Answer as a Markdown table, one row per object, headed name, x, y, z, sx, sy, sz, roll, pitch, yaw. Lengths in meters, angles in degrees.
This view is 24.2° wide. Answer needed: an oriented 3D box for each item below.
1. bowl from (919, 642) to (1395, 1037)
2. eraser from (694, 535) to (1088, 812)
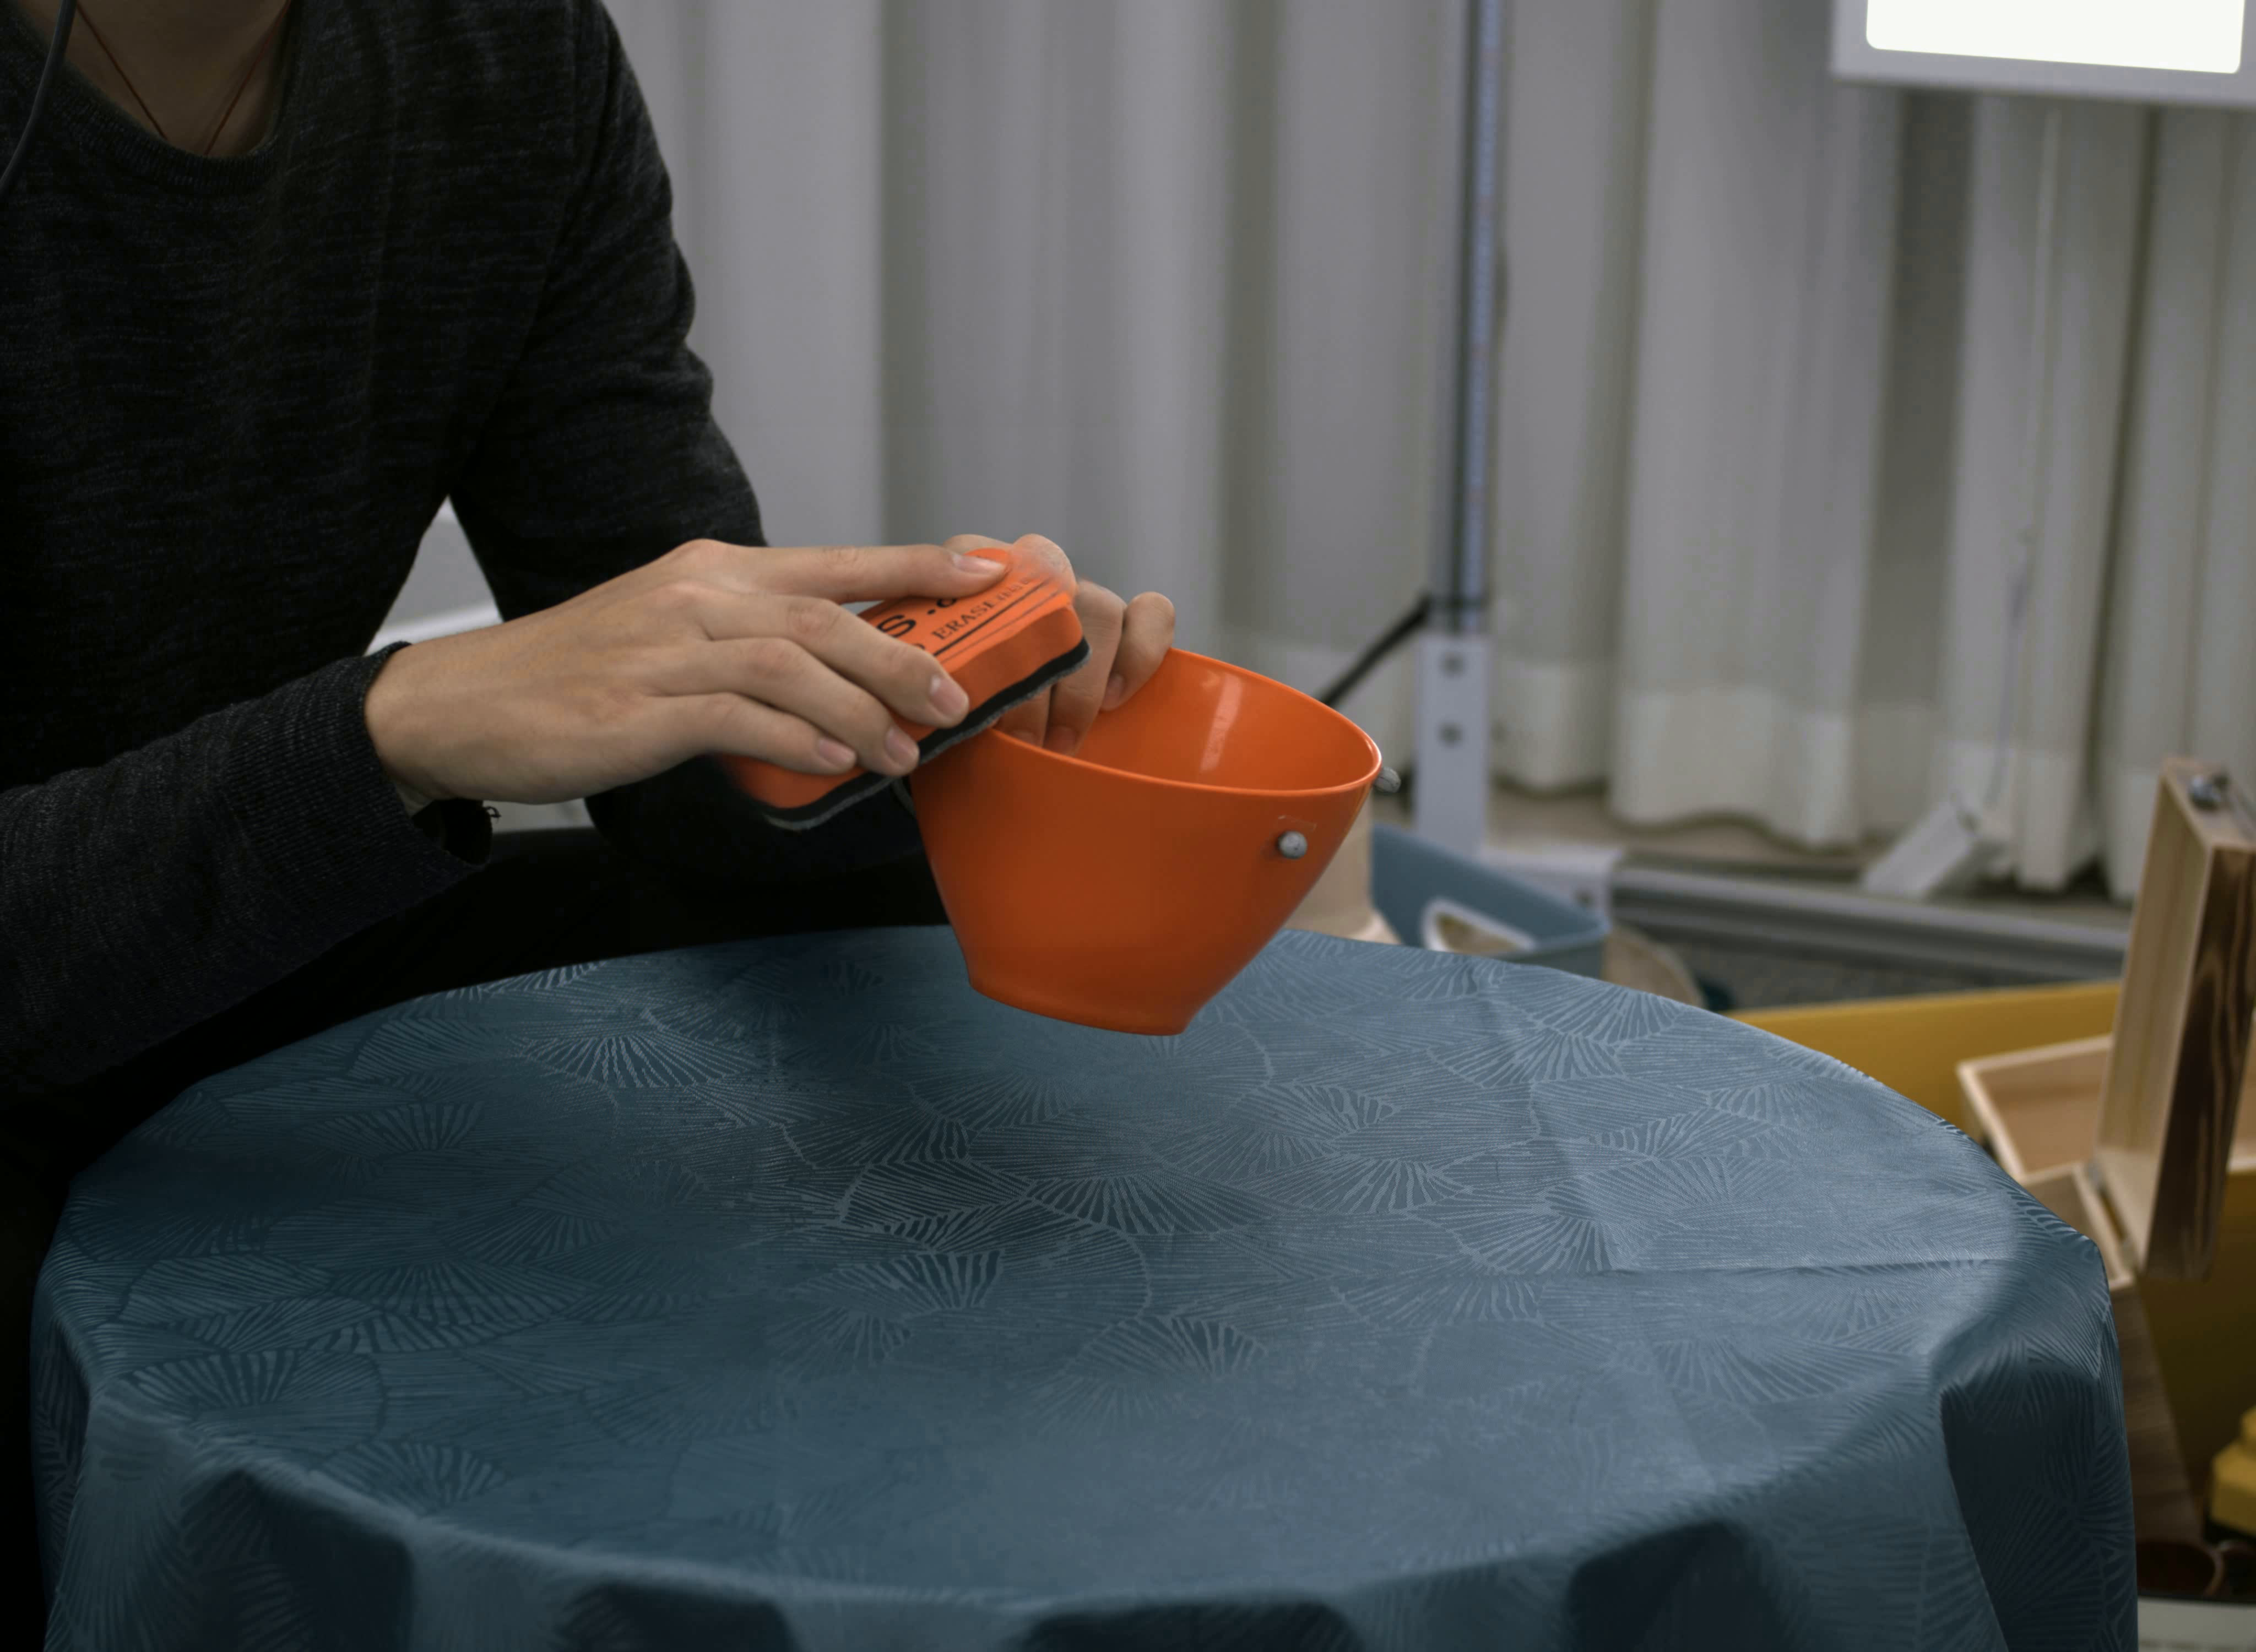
| name | x | y | z | sx | sy | sz | roll | pitch | yaw |
| --- | --- | --- | --- | --- | --- | --- | --- | --- | --- |
| bowl | 0.000 | 0.004 | 1.577 | 0.147 | 0.105 | 0.148 | 13 | 5 | -1 |
| eraser | -0.068 | -0.045 | 1.519 | 0.108 | 0.023 | 0.058 | -31 | 34 | -21 |
